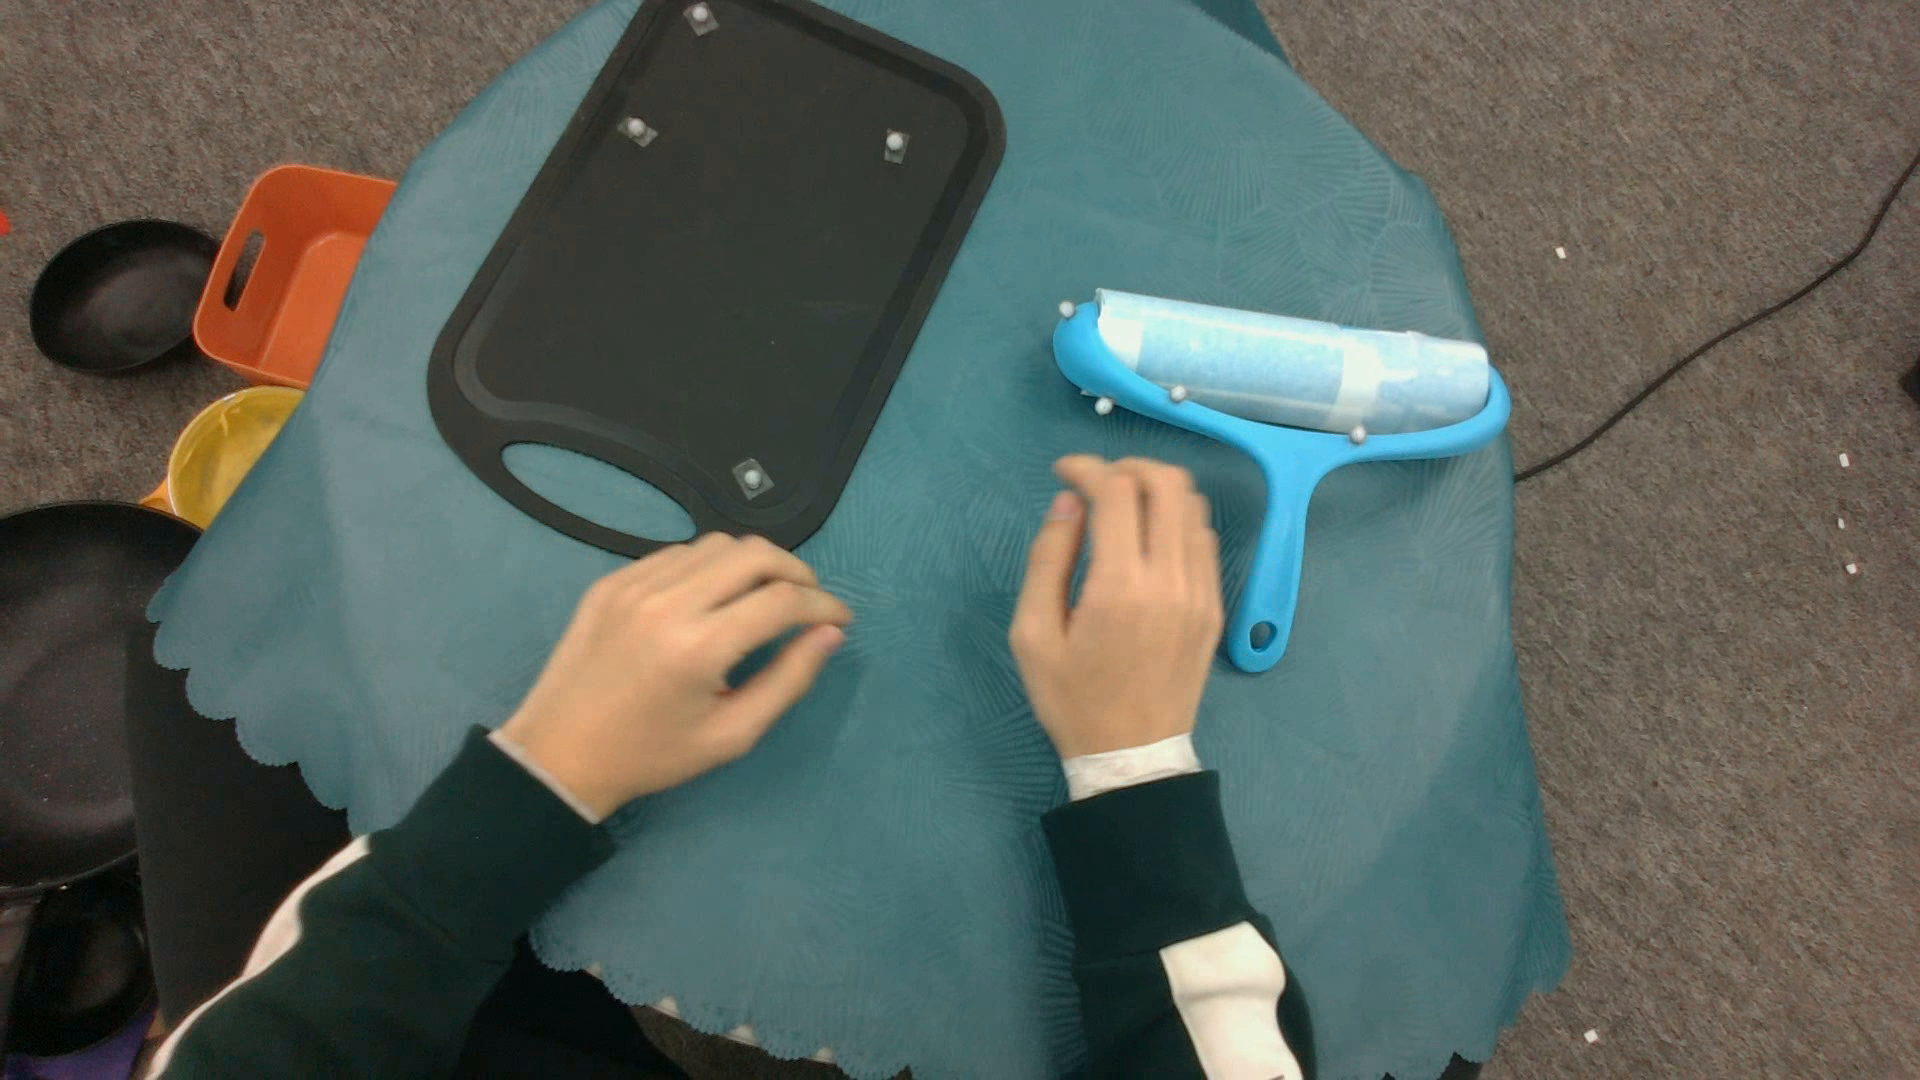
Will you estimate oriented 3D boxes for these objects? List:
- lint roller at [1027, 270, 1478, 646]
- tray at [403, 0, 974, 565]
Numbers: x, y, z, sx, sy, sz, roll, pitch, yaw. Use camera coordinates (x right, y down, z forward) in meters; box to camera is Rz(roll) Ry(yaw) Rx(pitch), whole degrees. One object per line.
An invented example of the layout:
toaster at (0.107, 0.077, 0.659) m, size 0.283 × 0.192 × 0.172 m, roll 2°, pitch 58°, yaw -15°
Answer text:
lint roller at (0.145, -0.042, 0.674) m, size 0.229 × 0.067 × 0.181 m, roll 4°, pitch 71°, yaw -7°
tray at (-0.133, -0.144, 0.700) m, size 0.211 × 0.010 × 0.326 m, roll 22°, pitch 71°, yaw 1°
